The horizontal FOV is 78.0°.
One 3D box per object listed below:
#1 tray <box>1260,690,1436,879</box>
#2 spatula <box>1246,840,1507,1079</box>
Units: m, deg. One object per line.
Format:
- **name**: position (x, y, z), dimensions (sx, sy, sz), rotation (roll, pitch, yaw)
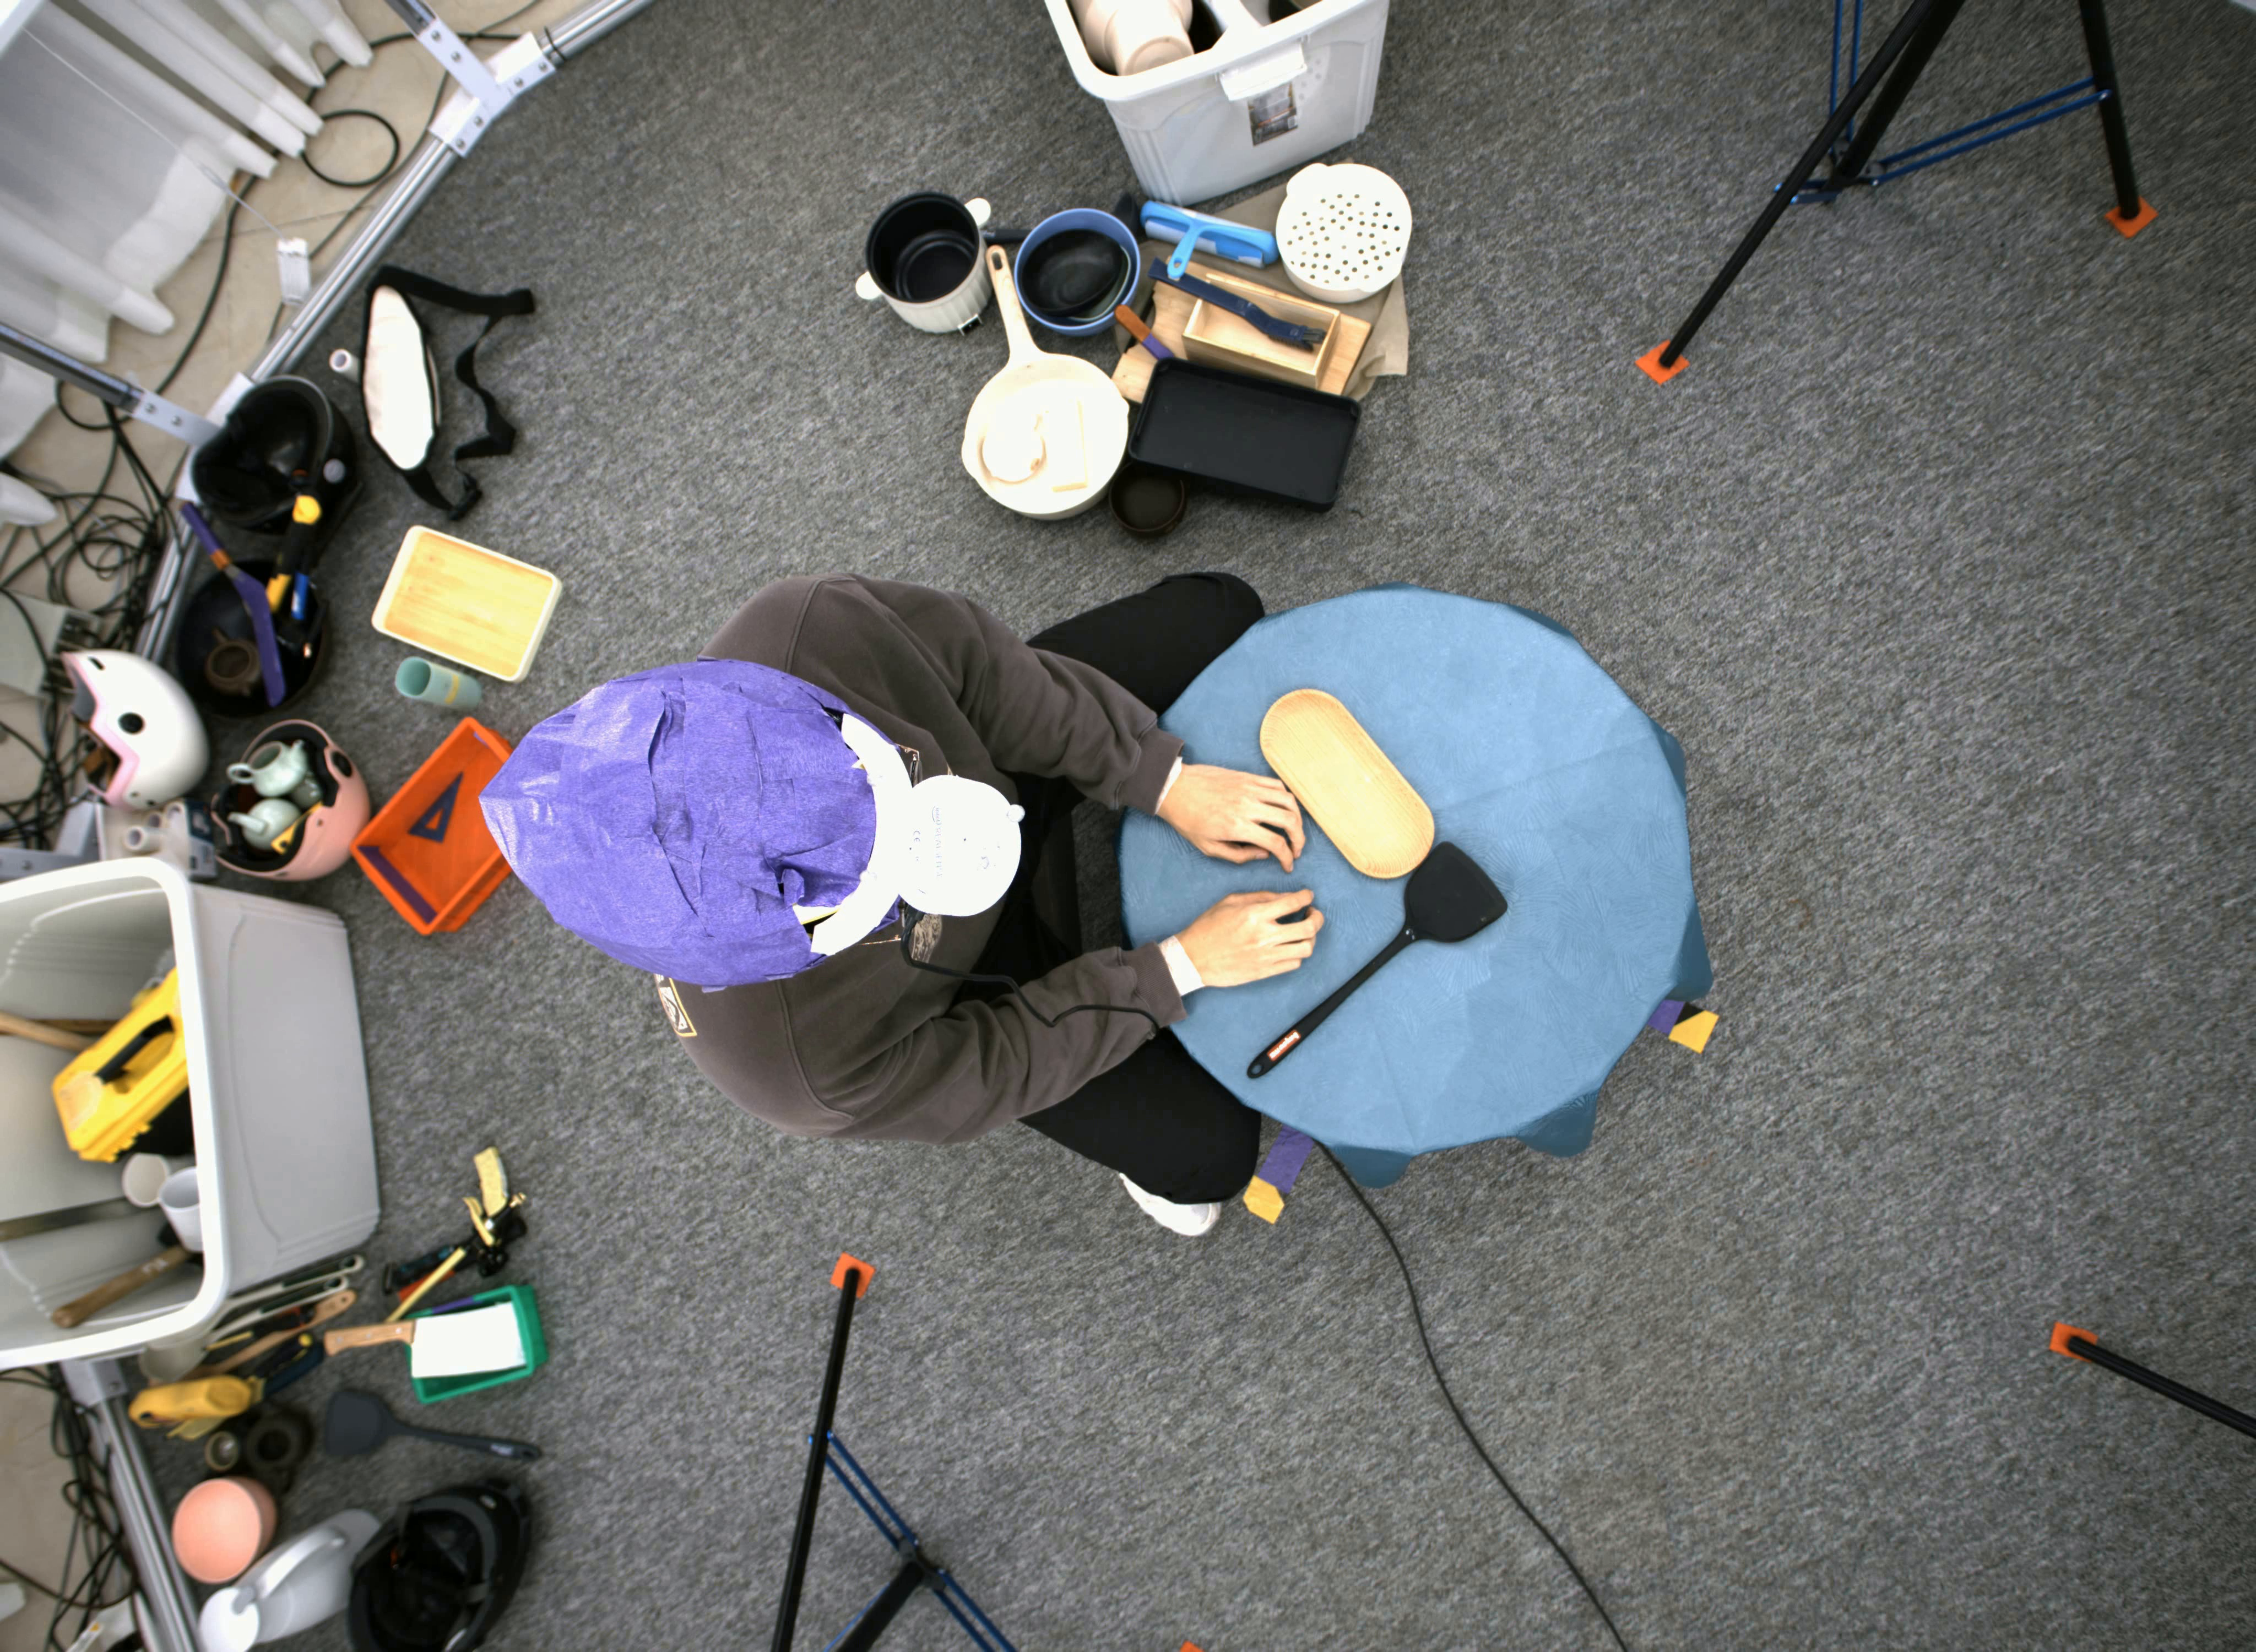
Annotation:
- **tray**: position (0.232, -0.046, 1.462), dimensions (0.102, 0.020, 0.230), rotation (-39, 82, 7)
- **spatula**: position (0.244, 0.153, 1.440), dimensions (0.328, 0.040, 0.099), rotation (-42, 79, 6)
